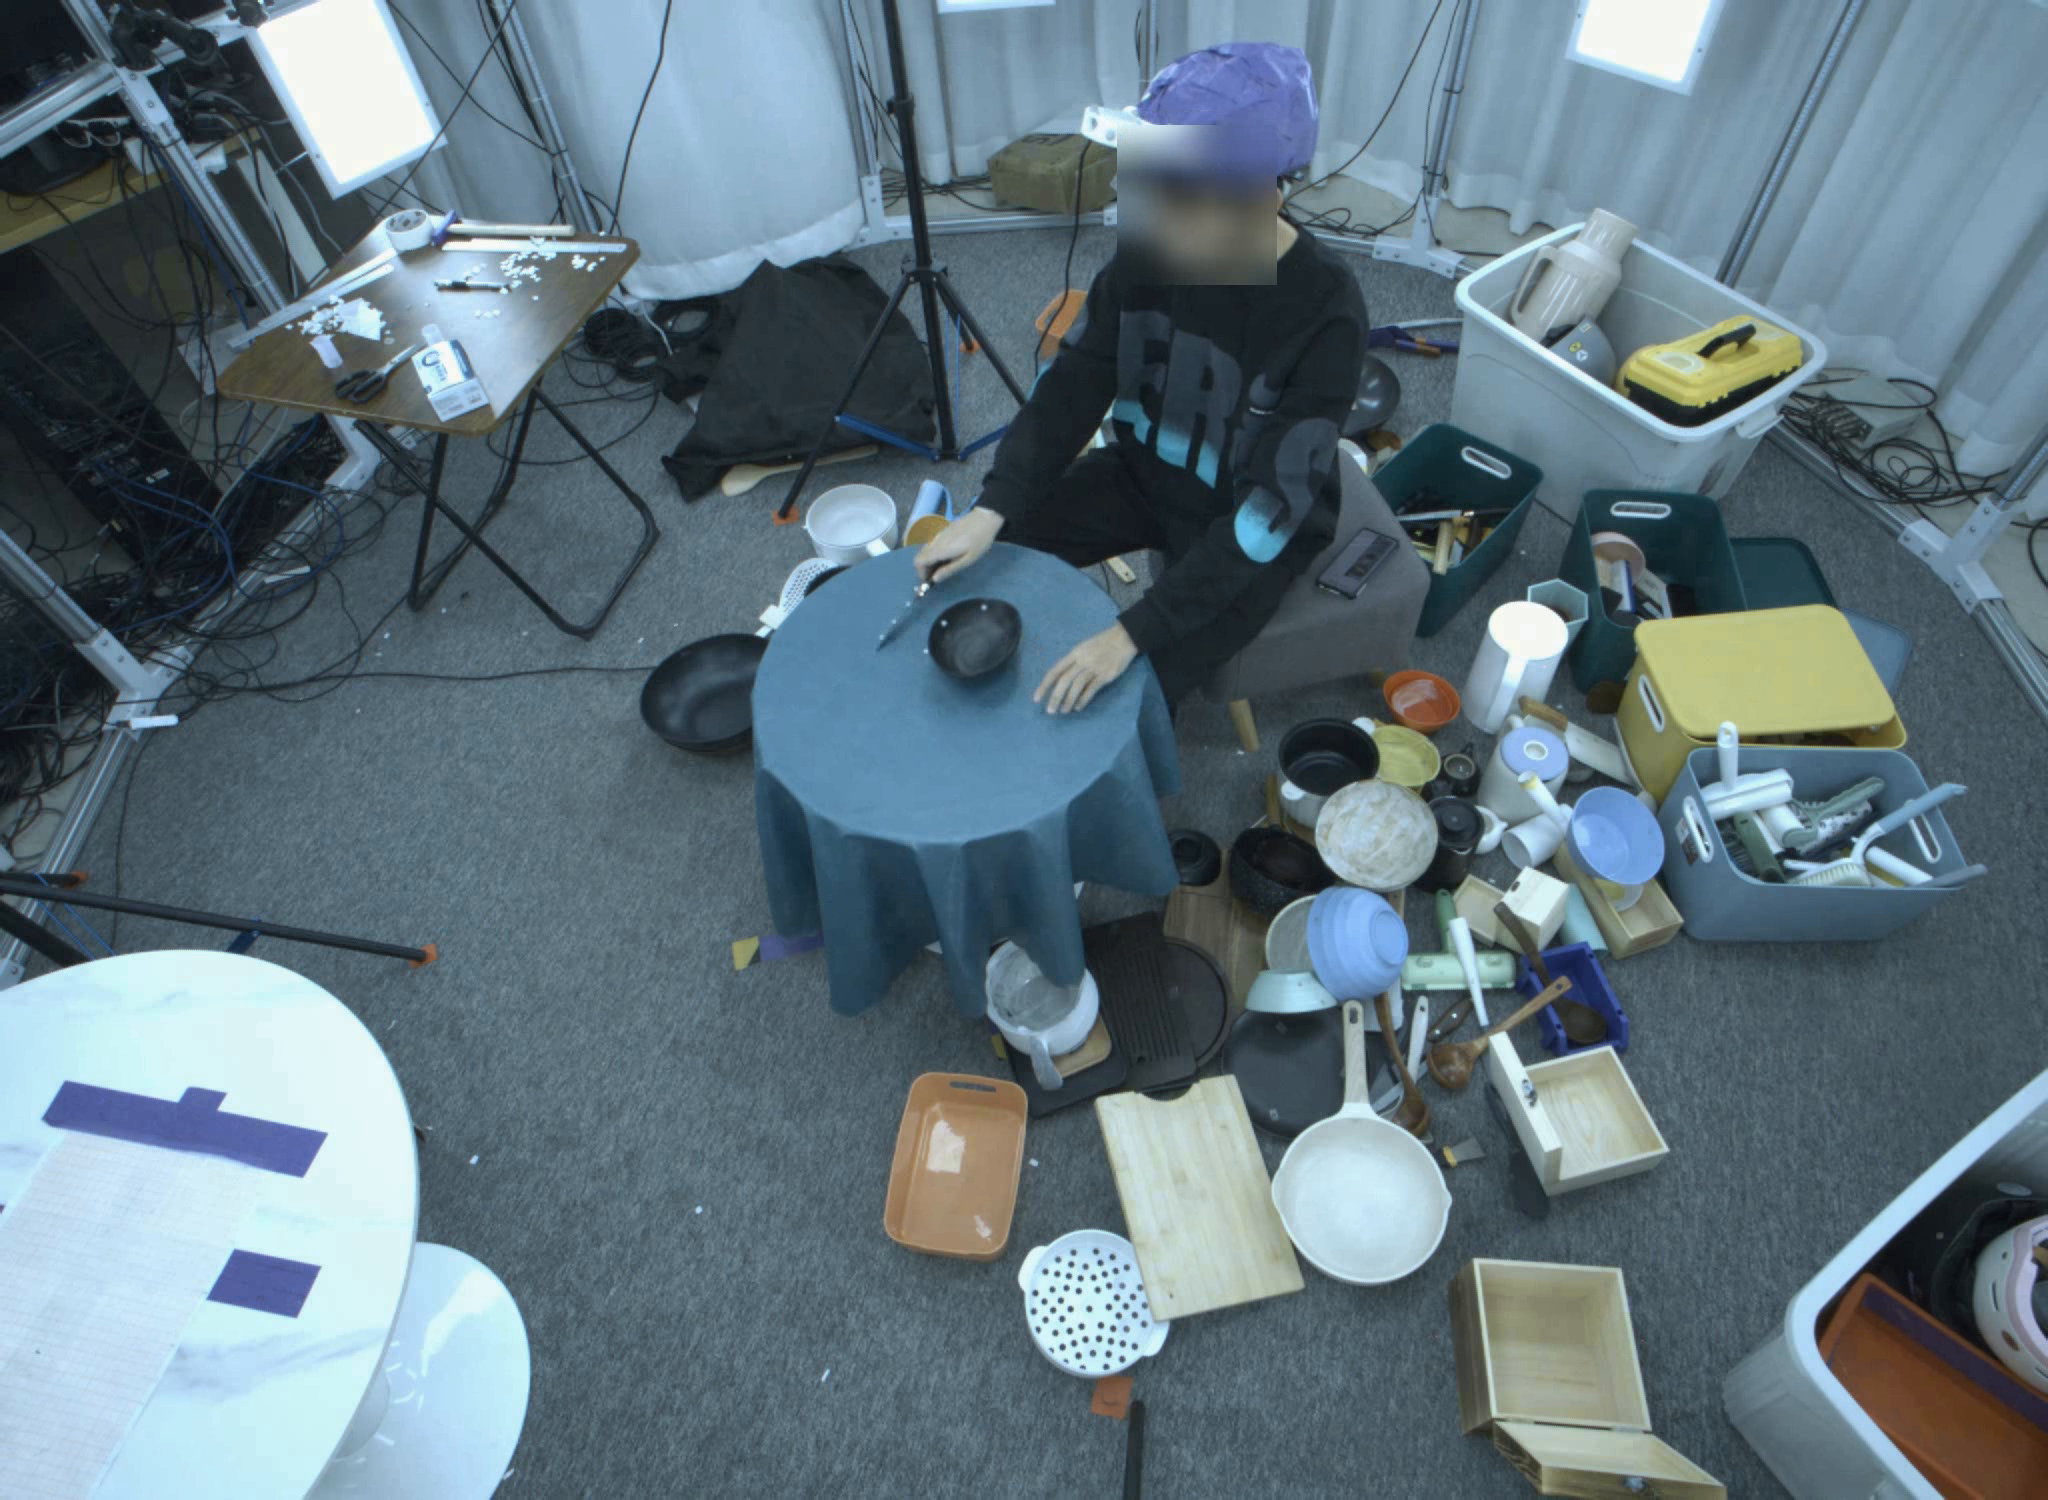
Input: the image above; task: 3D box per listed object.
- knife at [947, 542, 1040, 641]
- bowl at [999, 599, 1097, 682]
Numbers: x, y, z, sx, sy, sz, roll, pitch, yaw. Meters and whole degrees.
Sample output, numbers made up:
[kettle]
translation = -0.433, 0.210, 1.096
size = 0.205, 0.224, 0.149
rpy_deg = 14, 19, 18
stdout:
[knife]
translation = -0.050, -0.250, 1.929
size = 0.017, 0.026, 0.226
rpy_deg = 43, 74, -7
[bowl]
translation = 0.038, -0.158, 1.858
size = 0.135, 0.067, 0.171
rpy_deg = 23, 57, 18
